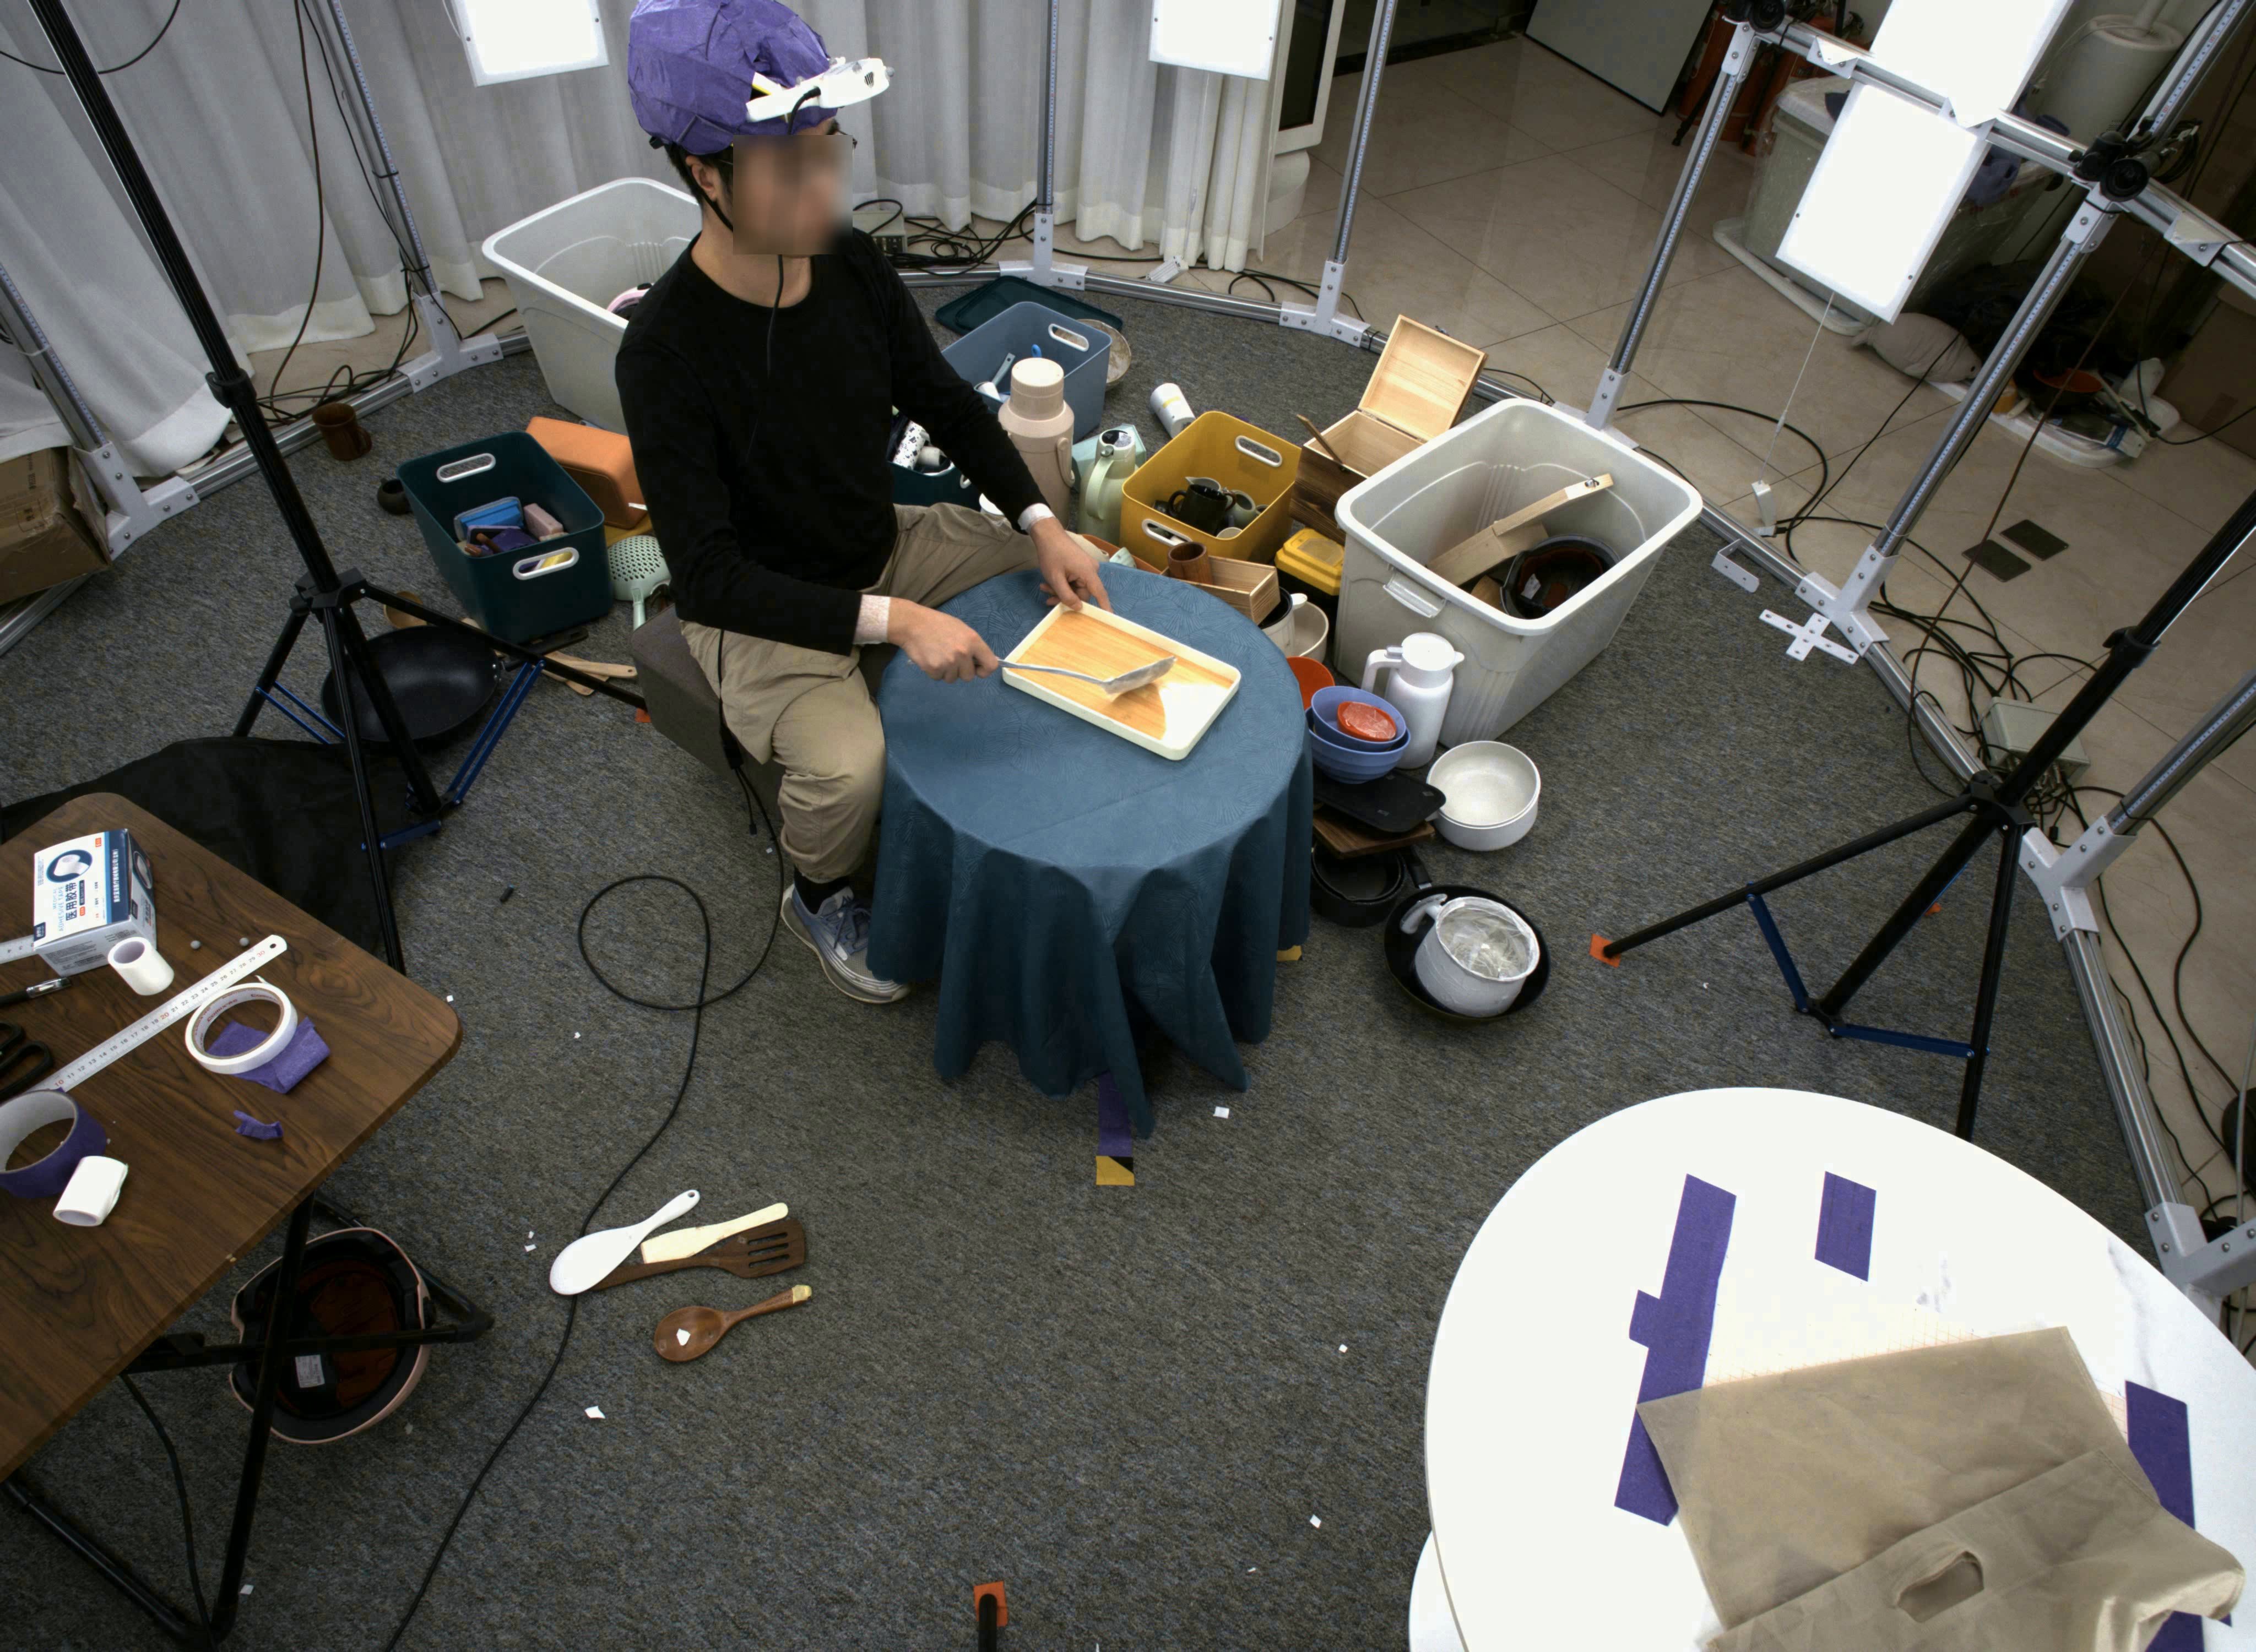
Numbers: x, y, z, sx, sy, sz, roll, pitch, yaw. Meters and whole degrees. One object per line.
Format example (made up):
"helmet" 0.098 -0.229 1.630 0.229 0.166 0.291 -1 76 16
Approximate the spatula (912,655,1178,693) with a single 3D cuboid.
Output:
"spatula" -0.109 -0.216 1.749 0.363 0.098 0.045 4 74 -17

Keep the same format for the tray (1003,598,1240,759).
"tray" -0.009 -0.216 1.839 0.303 0.027 0.194 26 53 18
